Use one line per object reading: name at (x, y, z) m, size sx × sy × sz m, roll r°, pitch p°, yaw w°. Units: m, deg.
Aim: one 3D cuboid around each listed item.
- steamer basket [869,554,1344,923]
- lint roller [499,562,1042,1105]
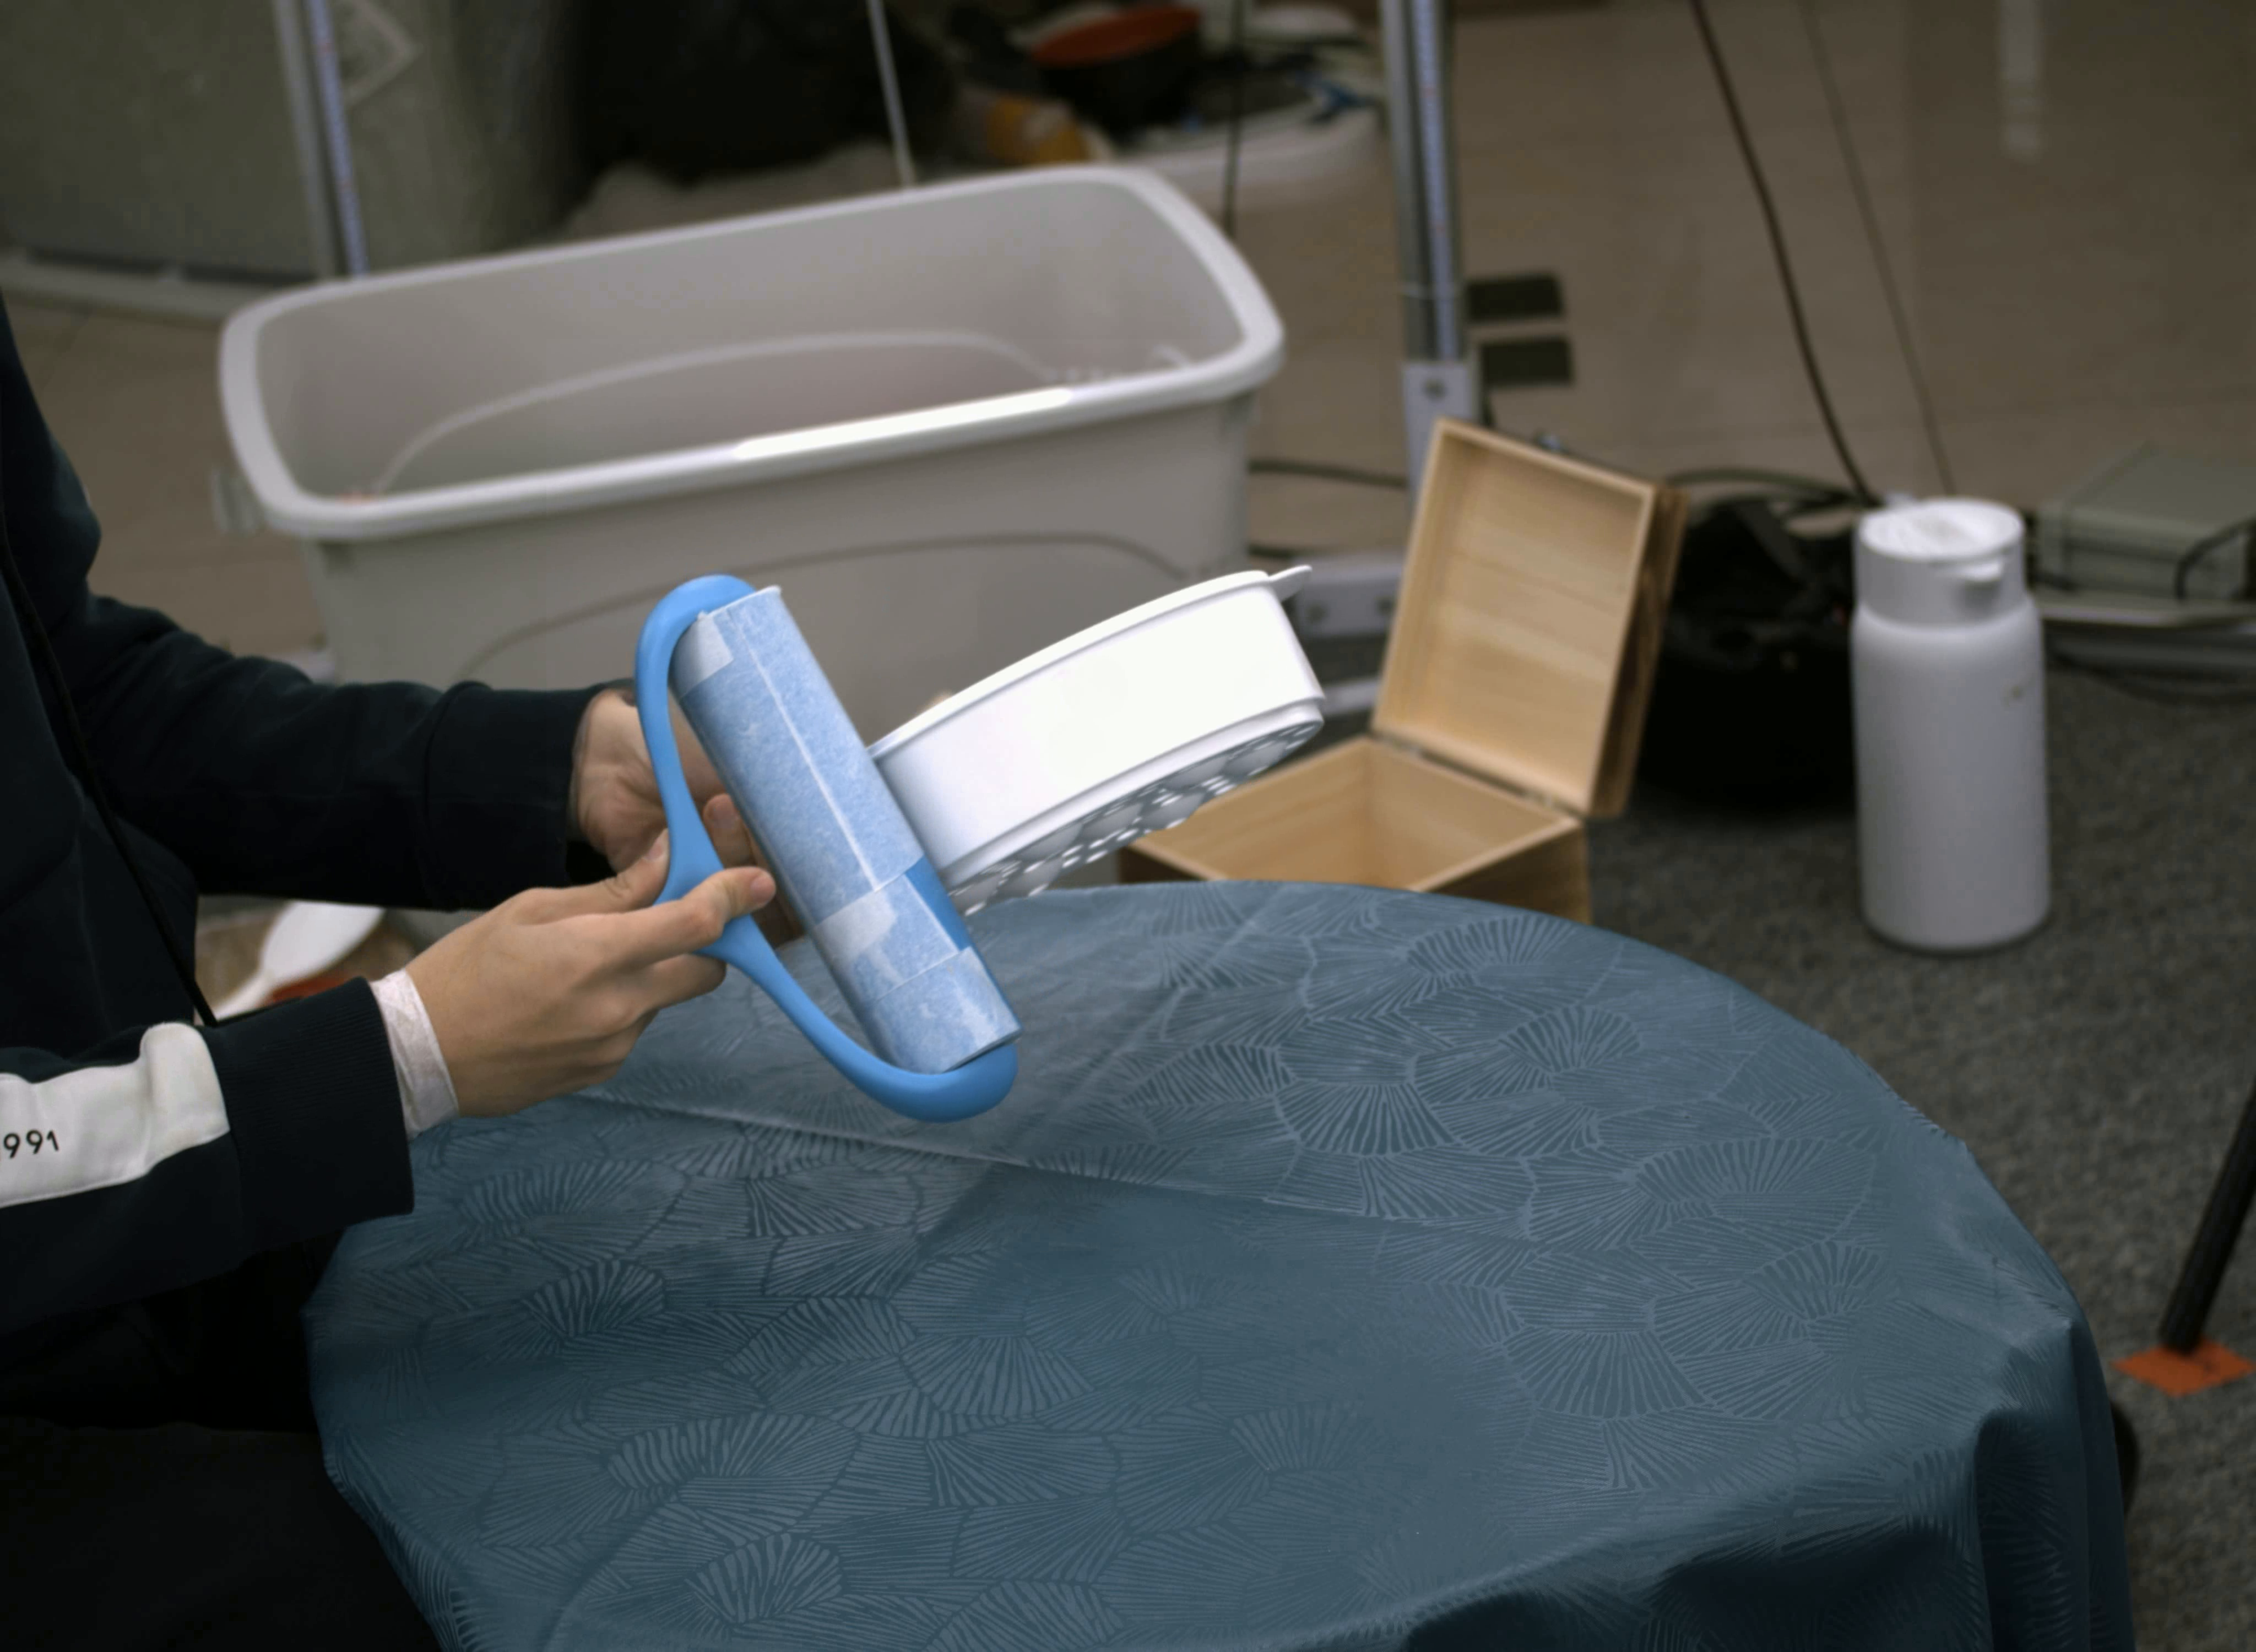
steamer basket at (-0.014, -0.027, 2.194) m, size 0.230 × 0.069 × 0.203 m, roll -27°, pitch -7°, yaw -7°
lint roller at (-0.154, 0.034, 2.105) m, size 0.179 × 0.229 × 0.068 m, roll -34°, pitch 0°, yaw -7°
